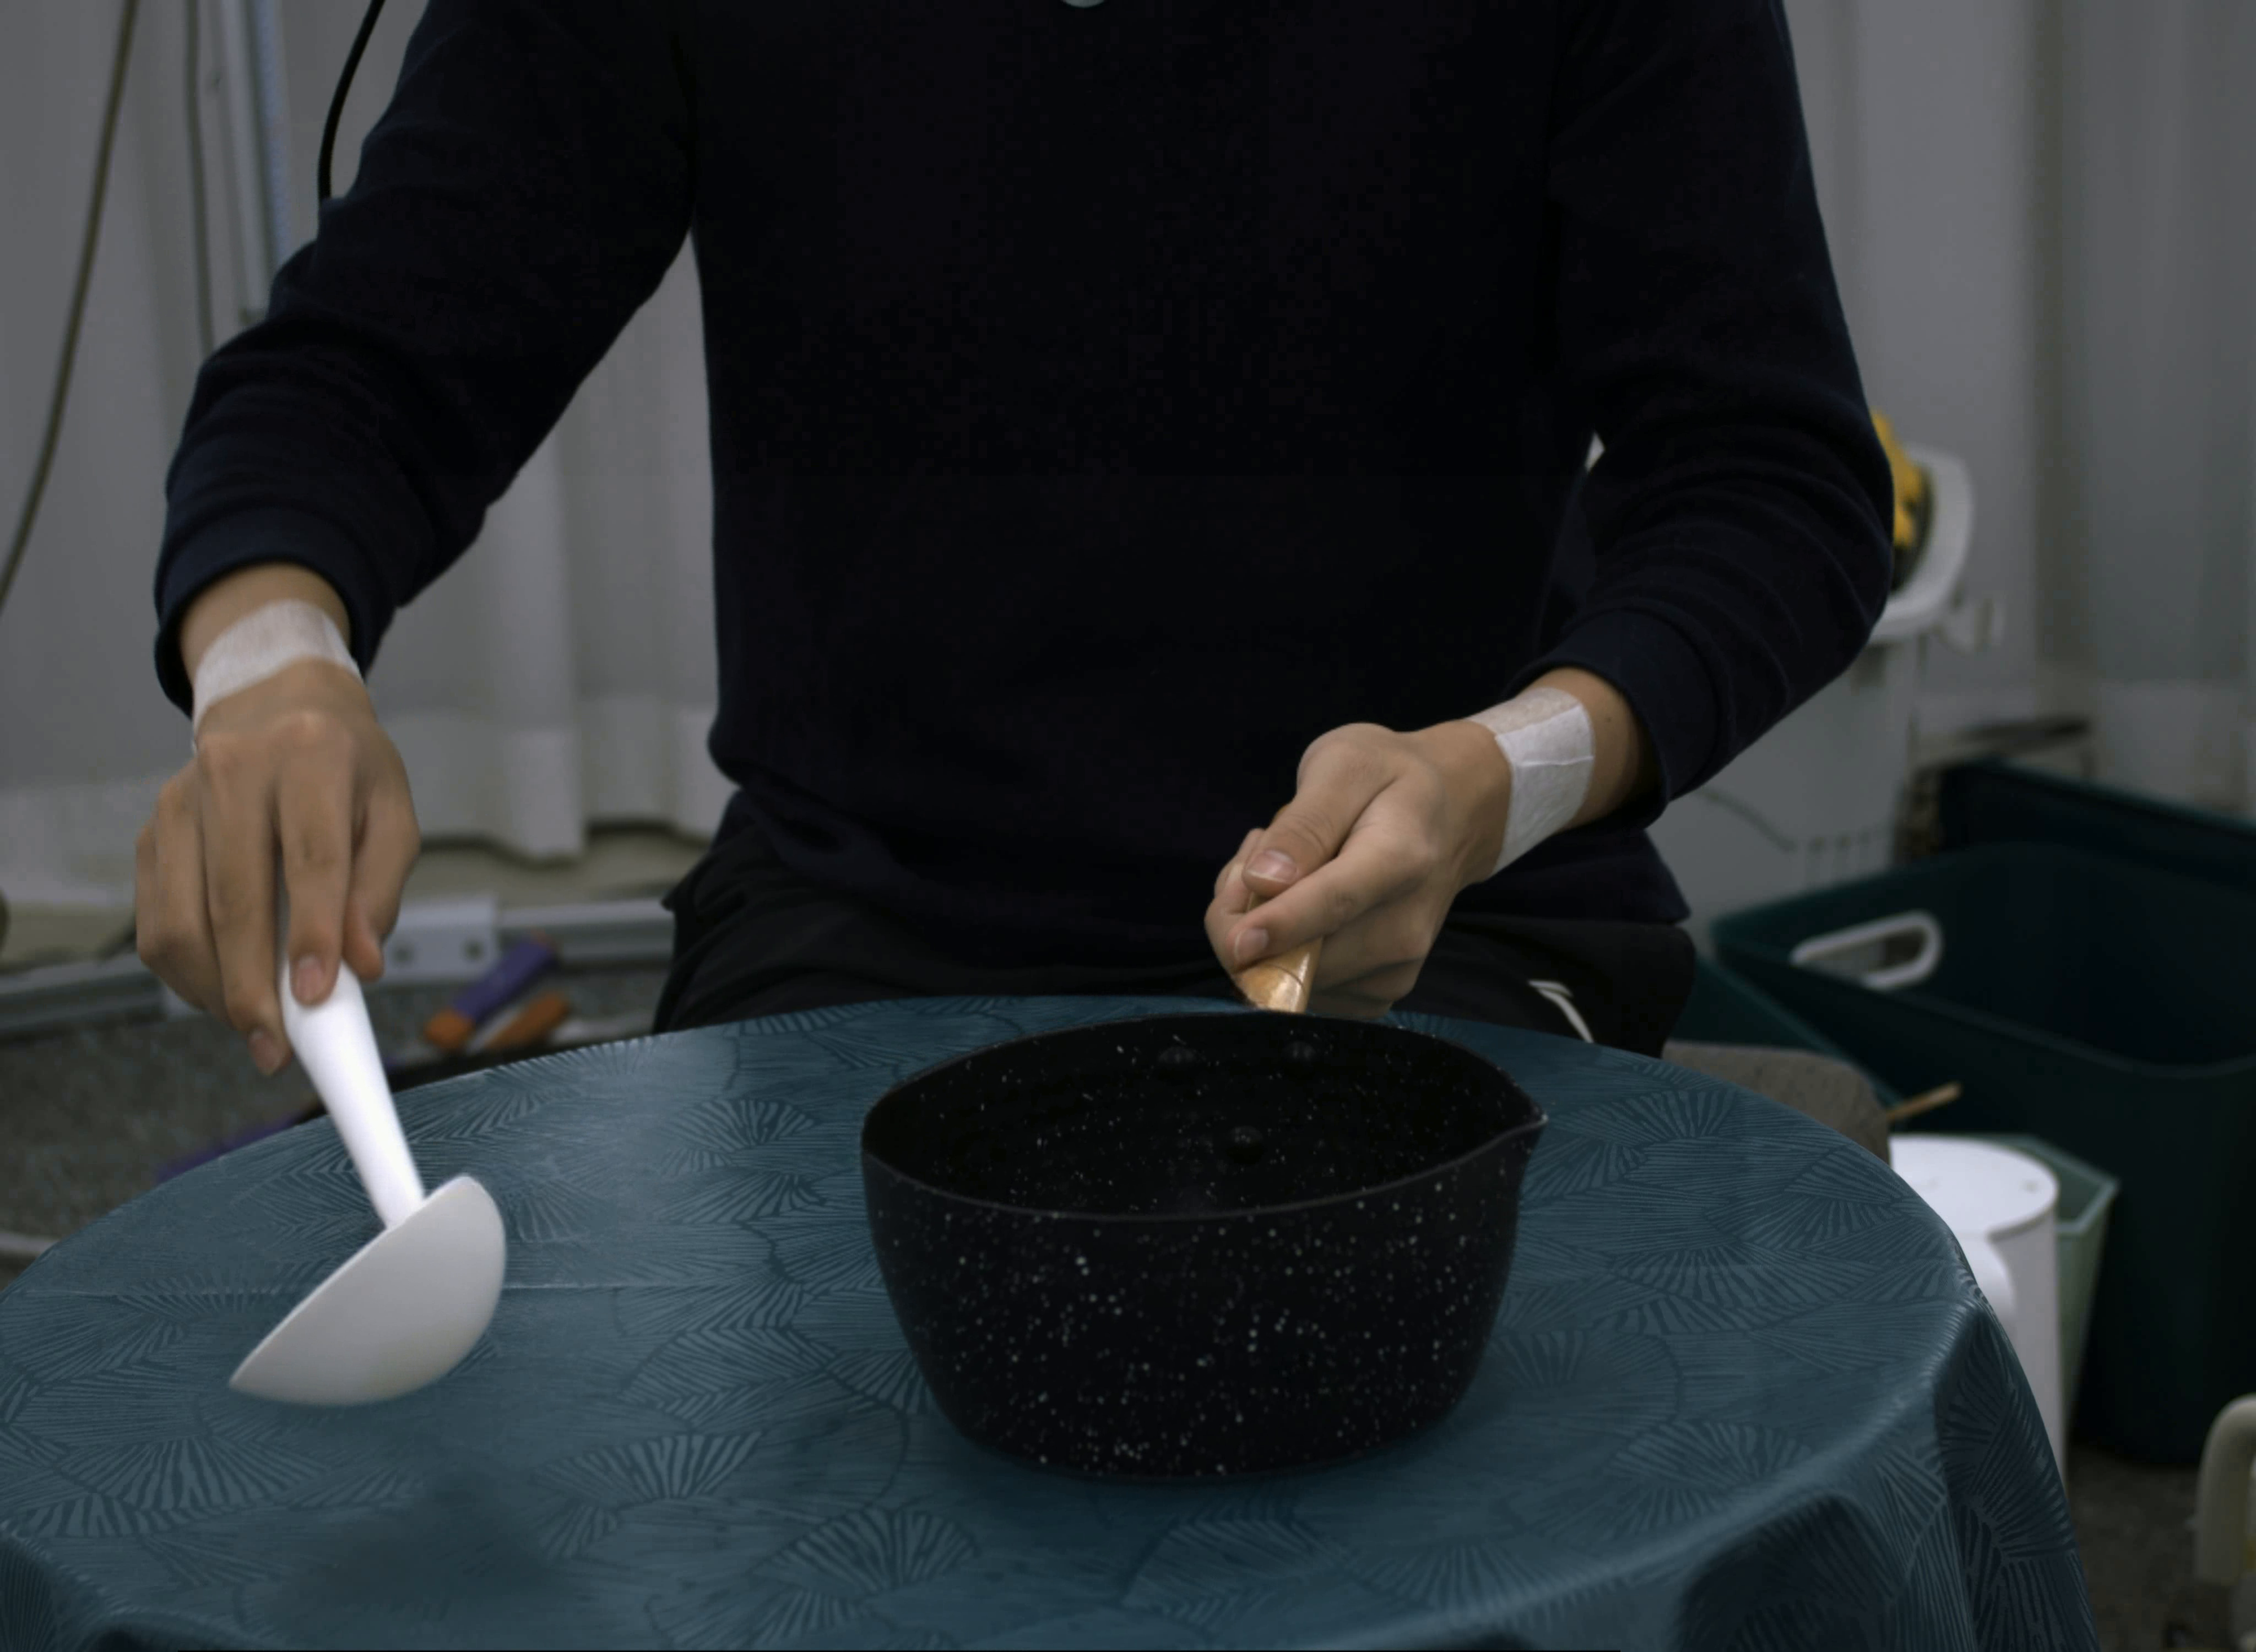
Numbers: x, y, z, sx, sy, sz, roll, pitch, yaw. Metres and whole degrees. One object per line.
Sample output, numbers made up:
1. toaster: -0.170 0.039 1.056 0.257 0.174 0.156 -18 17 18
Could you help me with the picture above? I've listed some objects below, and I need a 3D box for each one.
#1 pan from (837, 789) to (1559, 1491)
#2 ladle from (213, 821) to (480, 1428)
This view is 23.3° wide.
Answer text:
1. pan: 0.031 0.087 1.606 0.207 0.108 0.345 -2 16 10
2. ladle: -0.233 0.073 1.542 0.069 0.090 0.297 34 14 -30
